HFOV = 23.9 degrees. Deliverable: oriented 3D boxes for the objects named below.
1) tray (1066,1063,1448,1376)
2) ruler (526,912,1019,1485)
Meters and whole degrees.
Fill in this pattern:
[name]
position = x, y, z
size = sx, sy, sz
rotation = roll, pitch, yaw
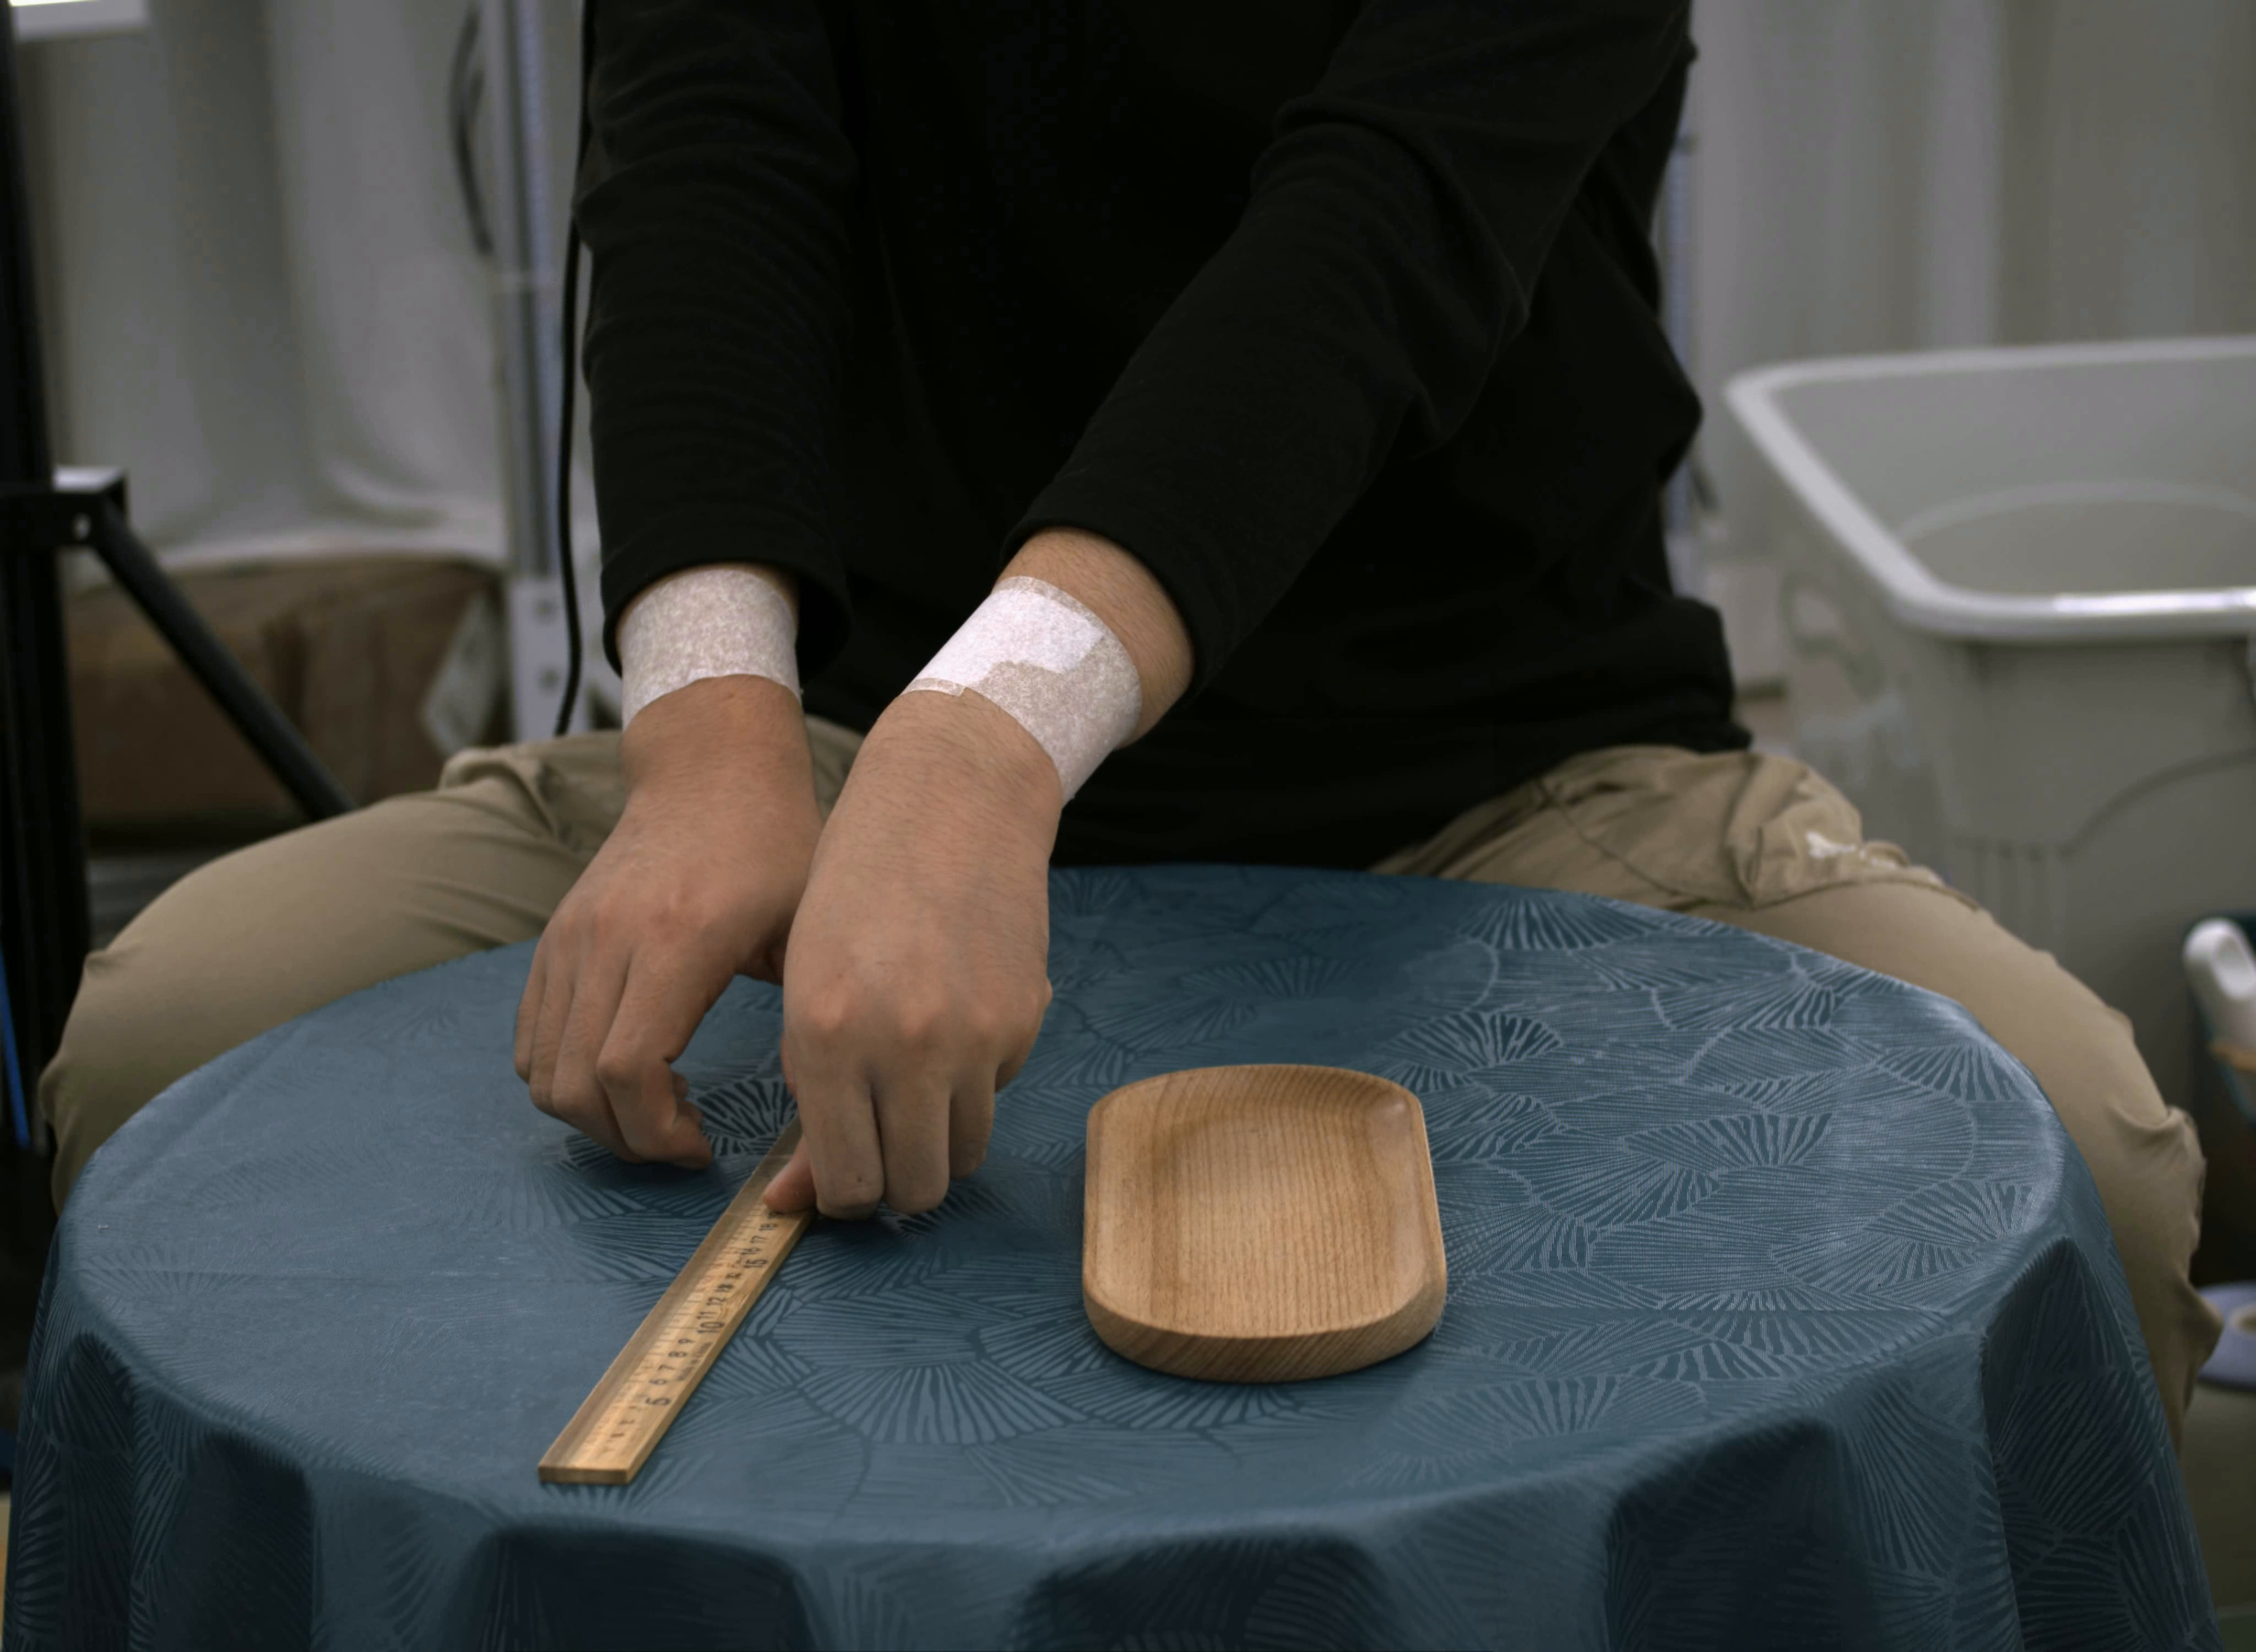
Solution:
[tray]
position = 0.035, 0.110, 1.515
size = 0.101, 0.020, 0.232
rotation = -1, 14, -2
[ruler]
position = -0.095, 0.099, 1.597
size = 0.027, 0.006, 0.498
rotation = 6, 17, 10
